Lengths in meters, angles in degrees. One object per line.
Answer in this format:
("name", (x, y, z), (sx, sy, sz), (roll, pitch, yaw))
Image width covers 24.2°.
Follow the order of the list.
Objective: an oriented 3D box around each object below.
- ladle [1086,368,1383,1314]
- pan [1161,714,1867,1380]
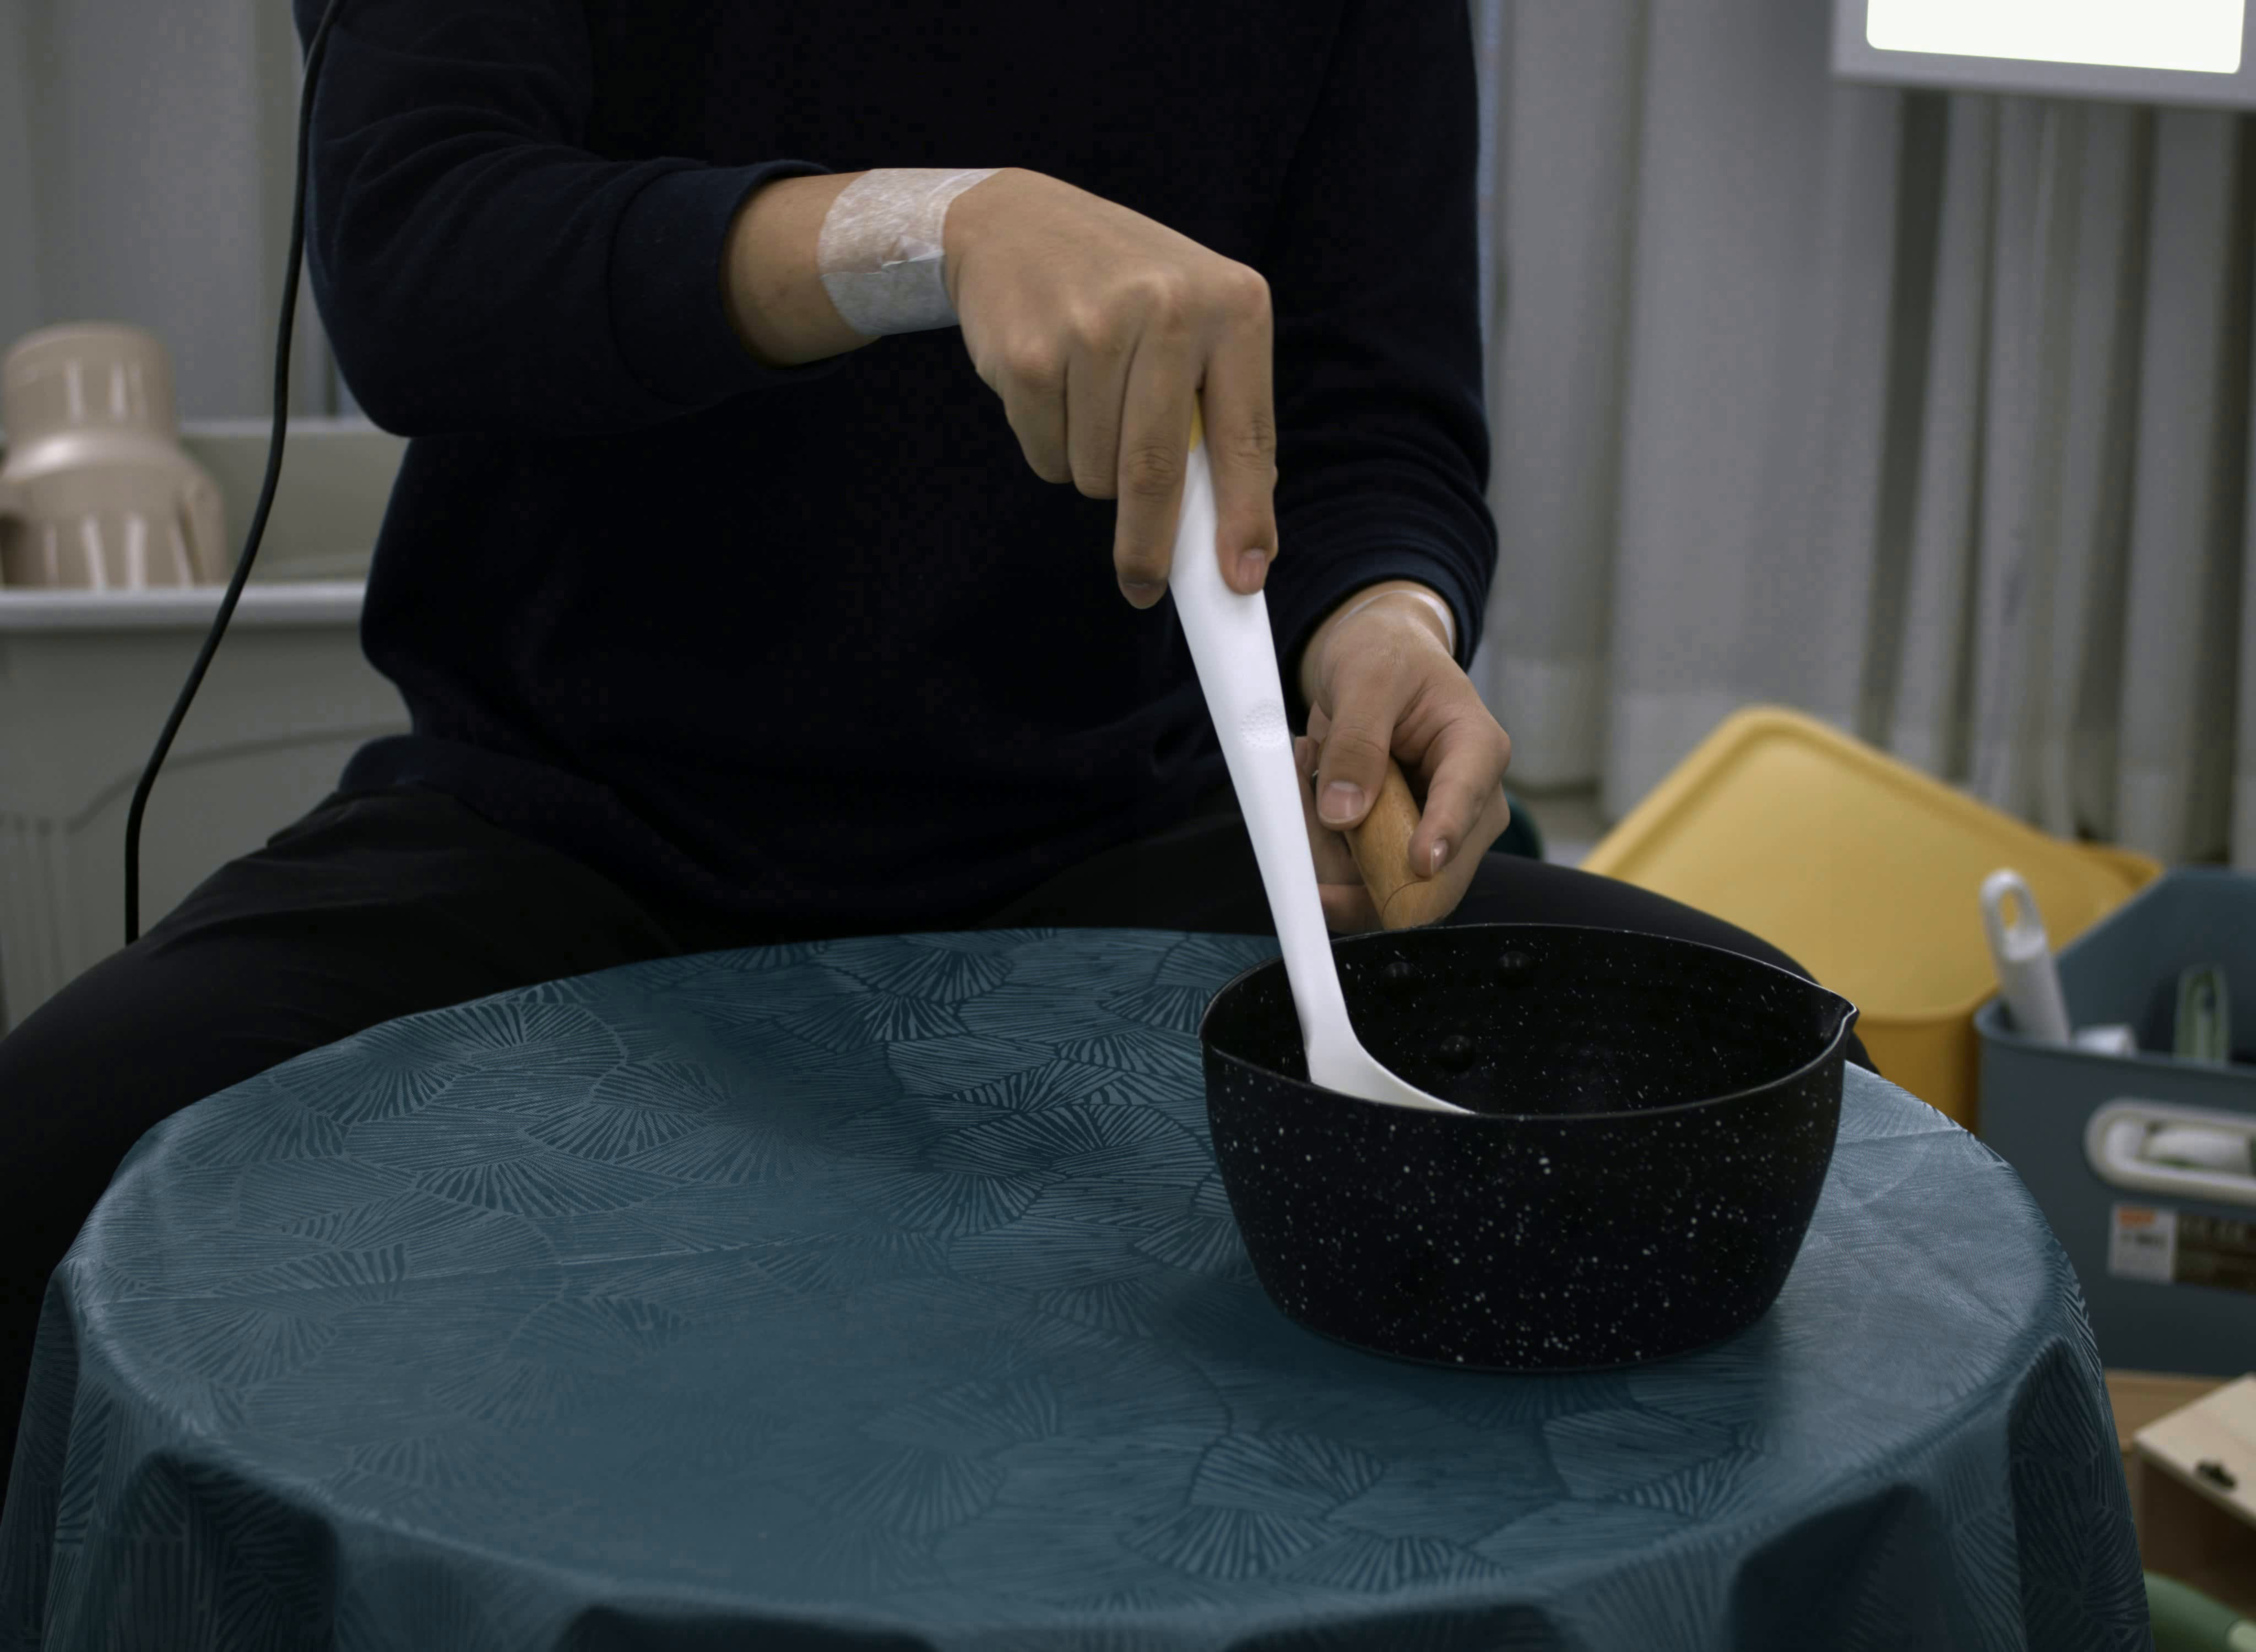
("ladle", (0.045, 0.003, 1.535), (0.090, 0.293, 0.070), (-13, -7, -18))
("pan", (0.100, 0.062, 1.605), (0.207, 0.109, 0.339), (-4, 17, -10))
